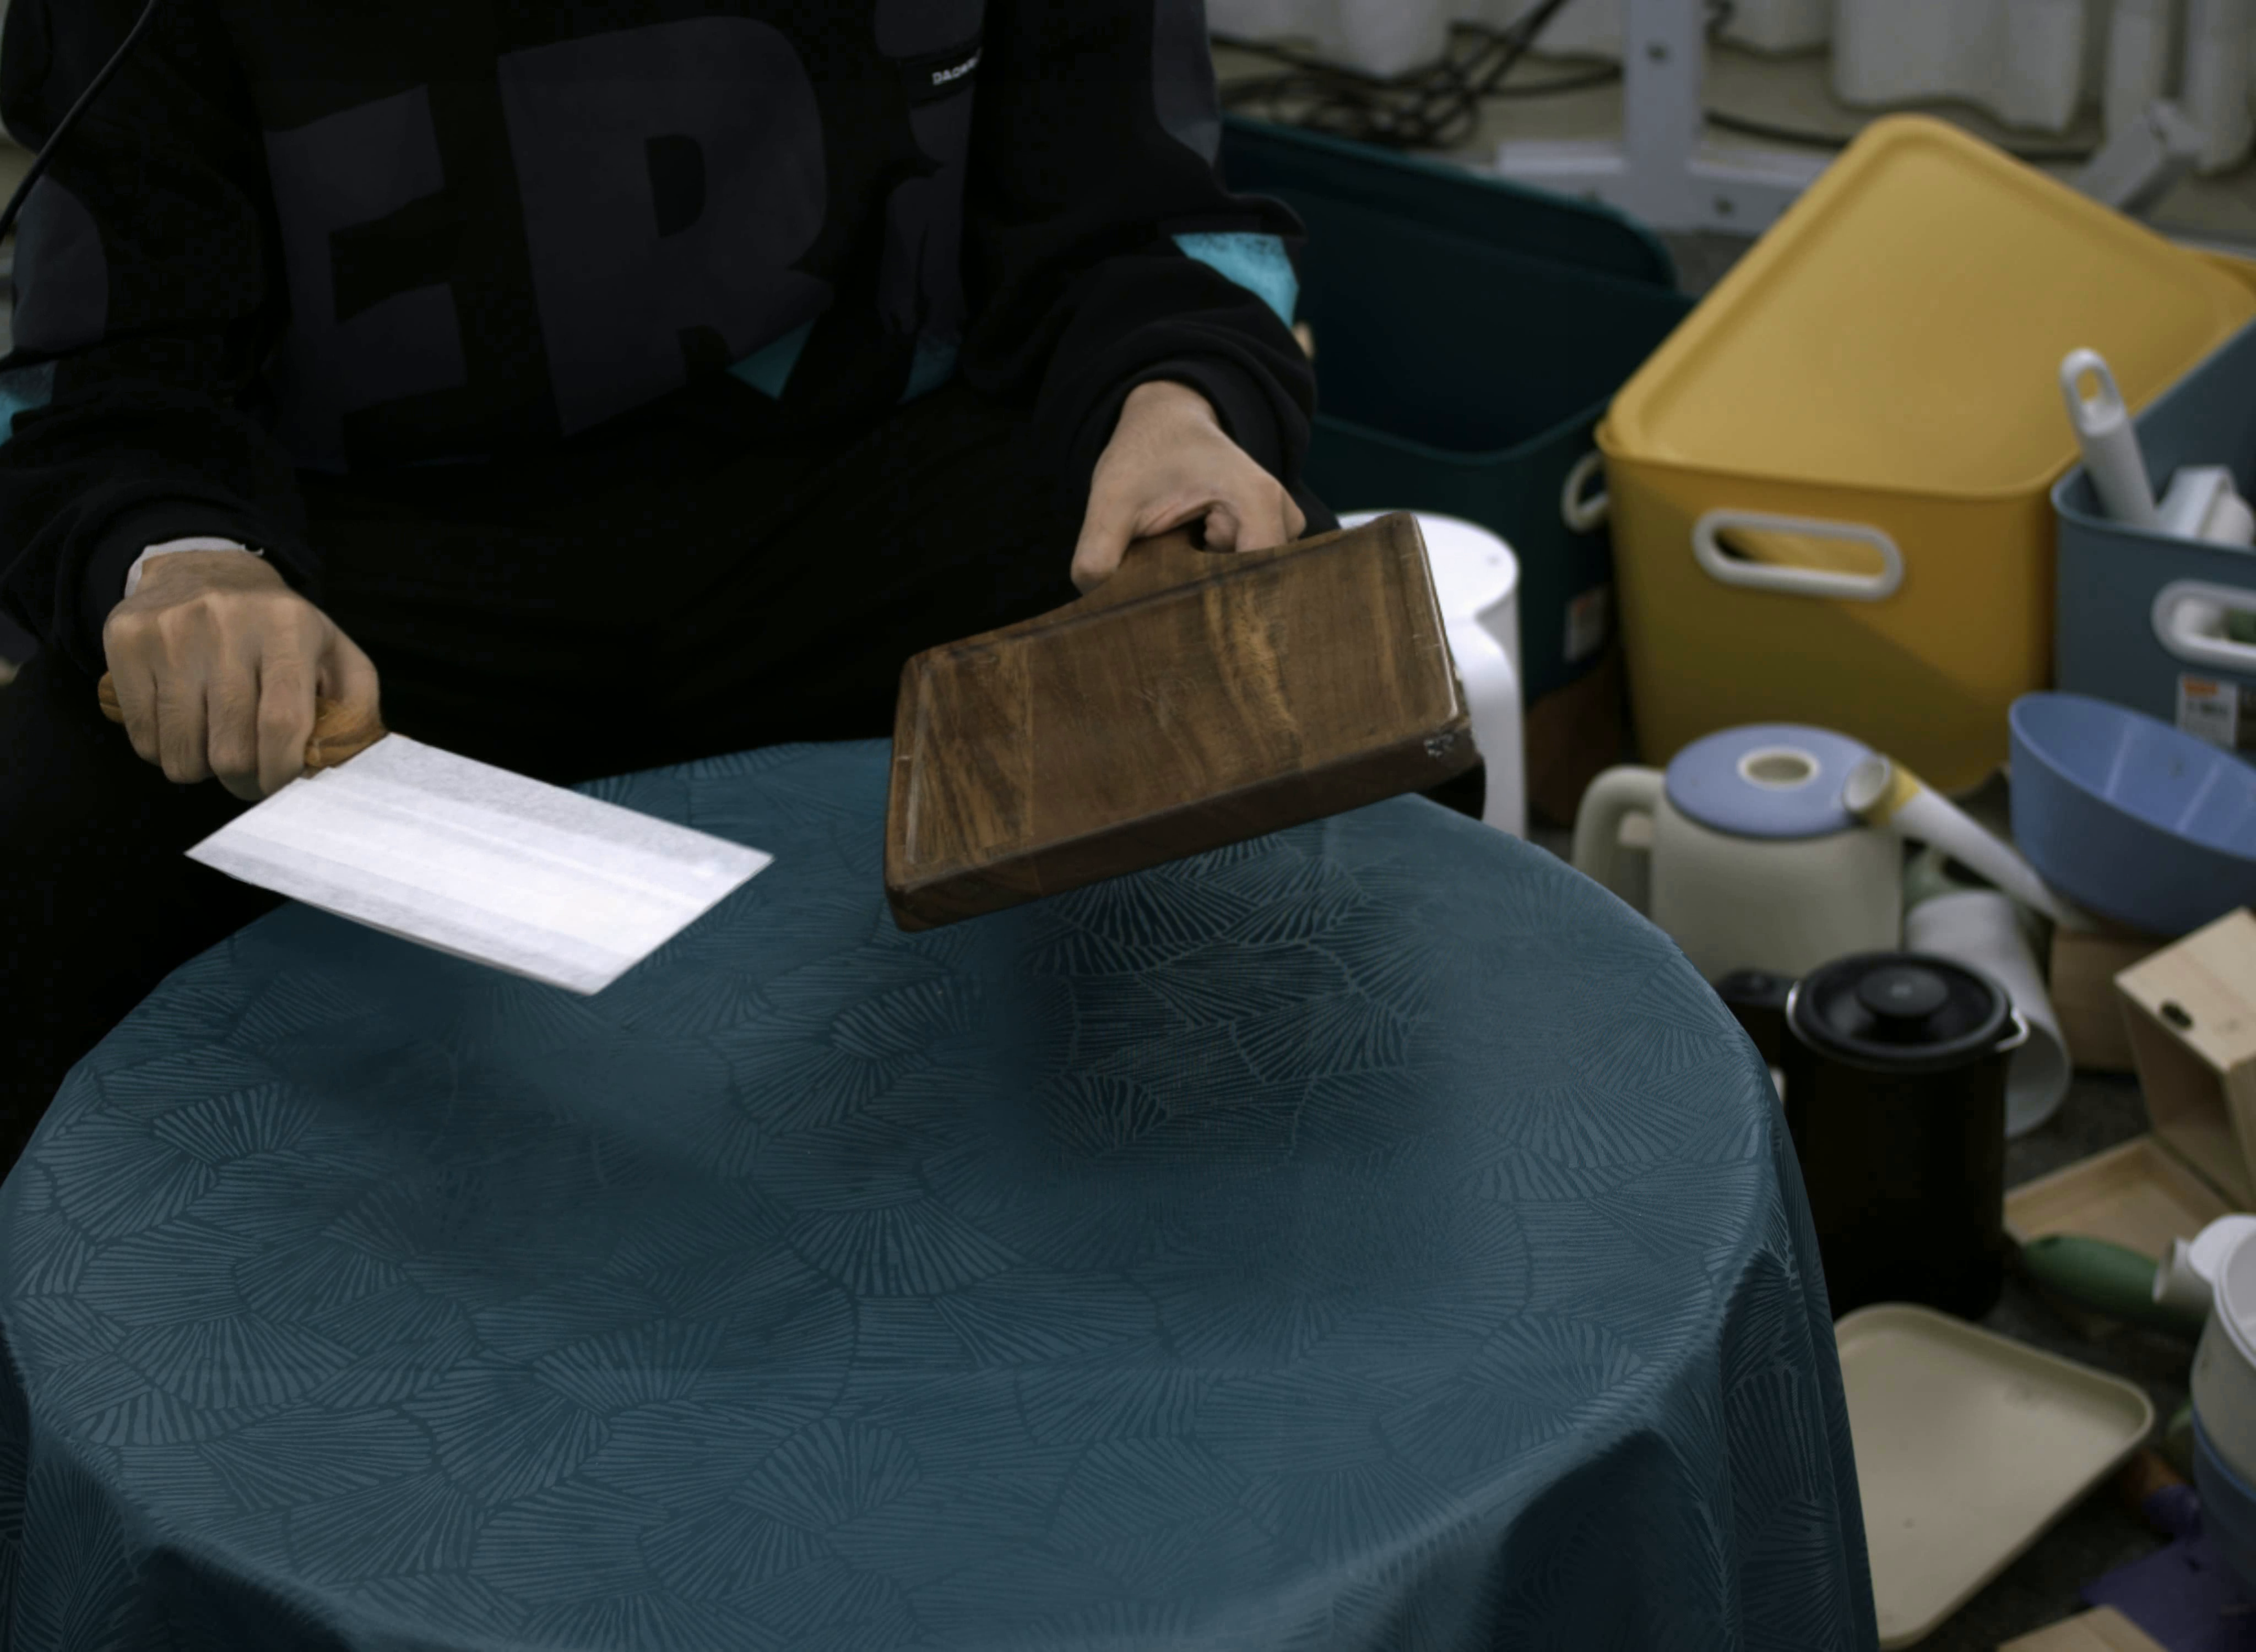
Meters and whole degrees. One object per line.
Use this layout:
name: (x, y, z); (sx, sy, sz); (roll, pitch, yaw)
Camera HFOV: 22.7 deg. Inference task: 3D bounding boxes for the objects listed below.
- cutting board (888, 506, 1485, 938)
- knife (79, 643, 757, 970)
cutting board: (0.014, -0.054, 1.966); (0.200, 0.023, 0.356); (-16, 18, 4)
knife: (-0.260, -0.004, 1.882); (0.304, 0.021, 0.094); (17, 39, 36)
